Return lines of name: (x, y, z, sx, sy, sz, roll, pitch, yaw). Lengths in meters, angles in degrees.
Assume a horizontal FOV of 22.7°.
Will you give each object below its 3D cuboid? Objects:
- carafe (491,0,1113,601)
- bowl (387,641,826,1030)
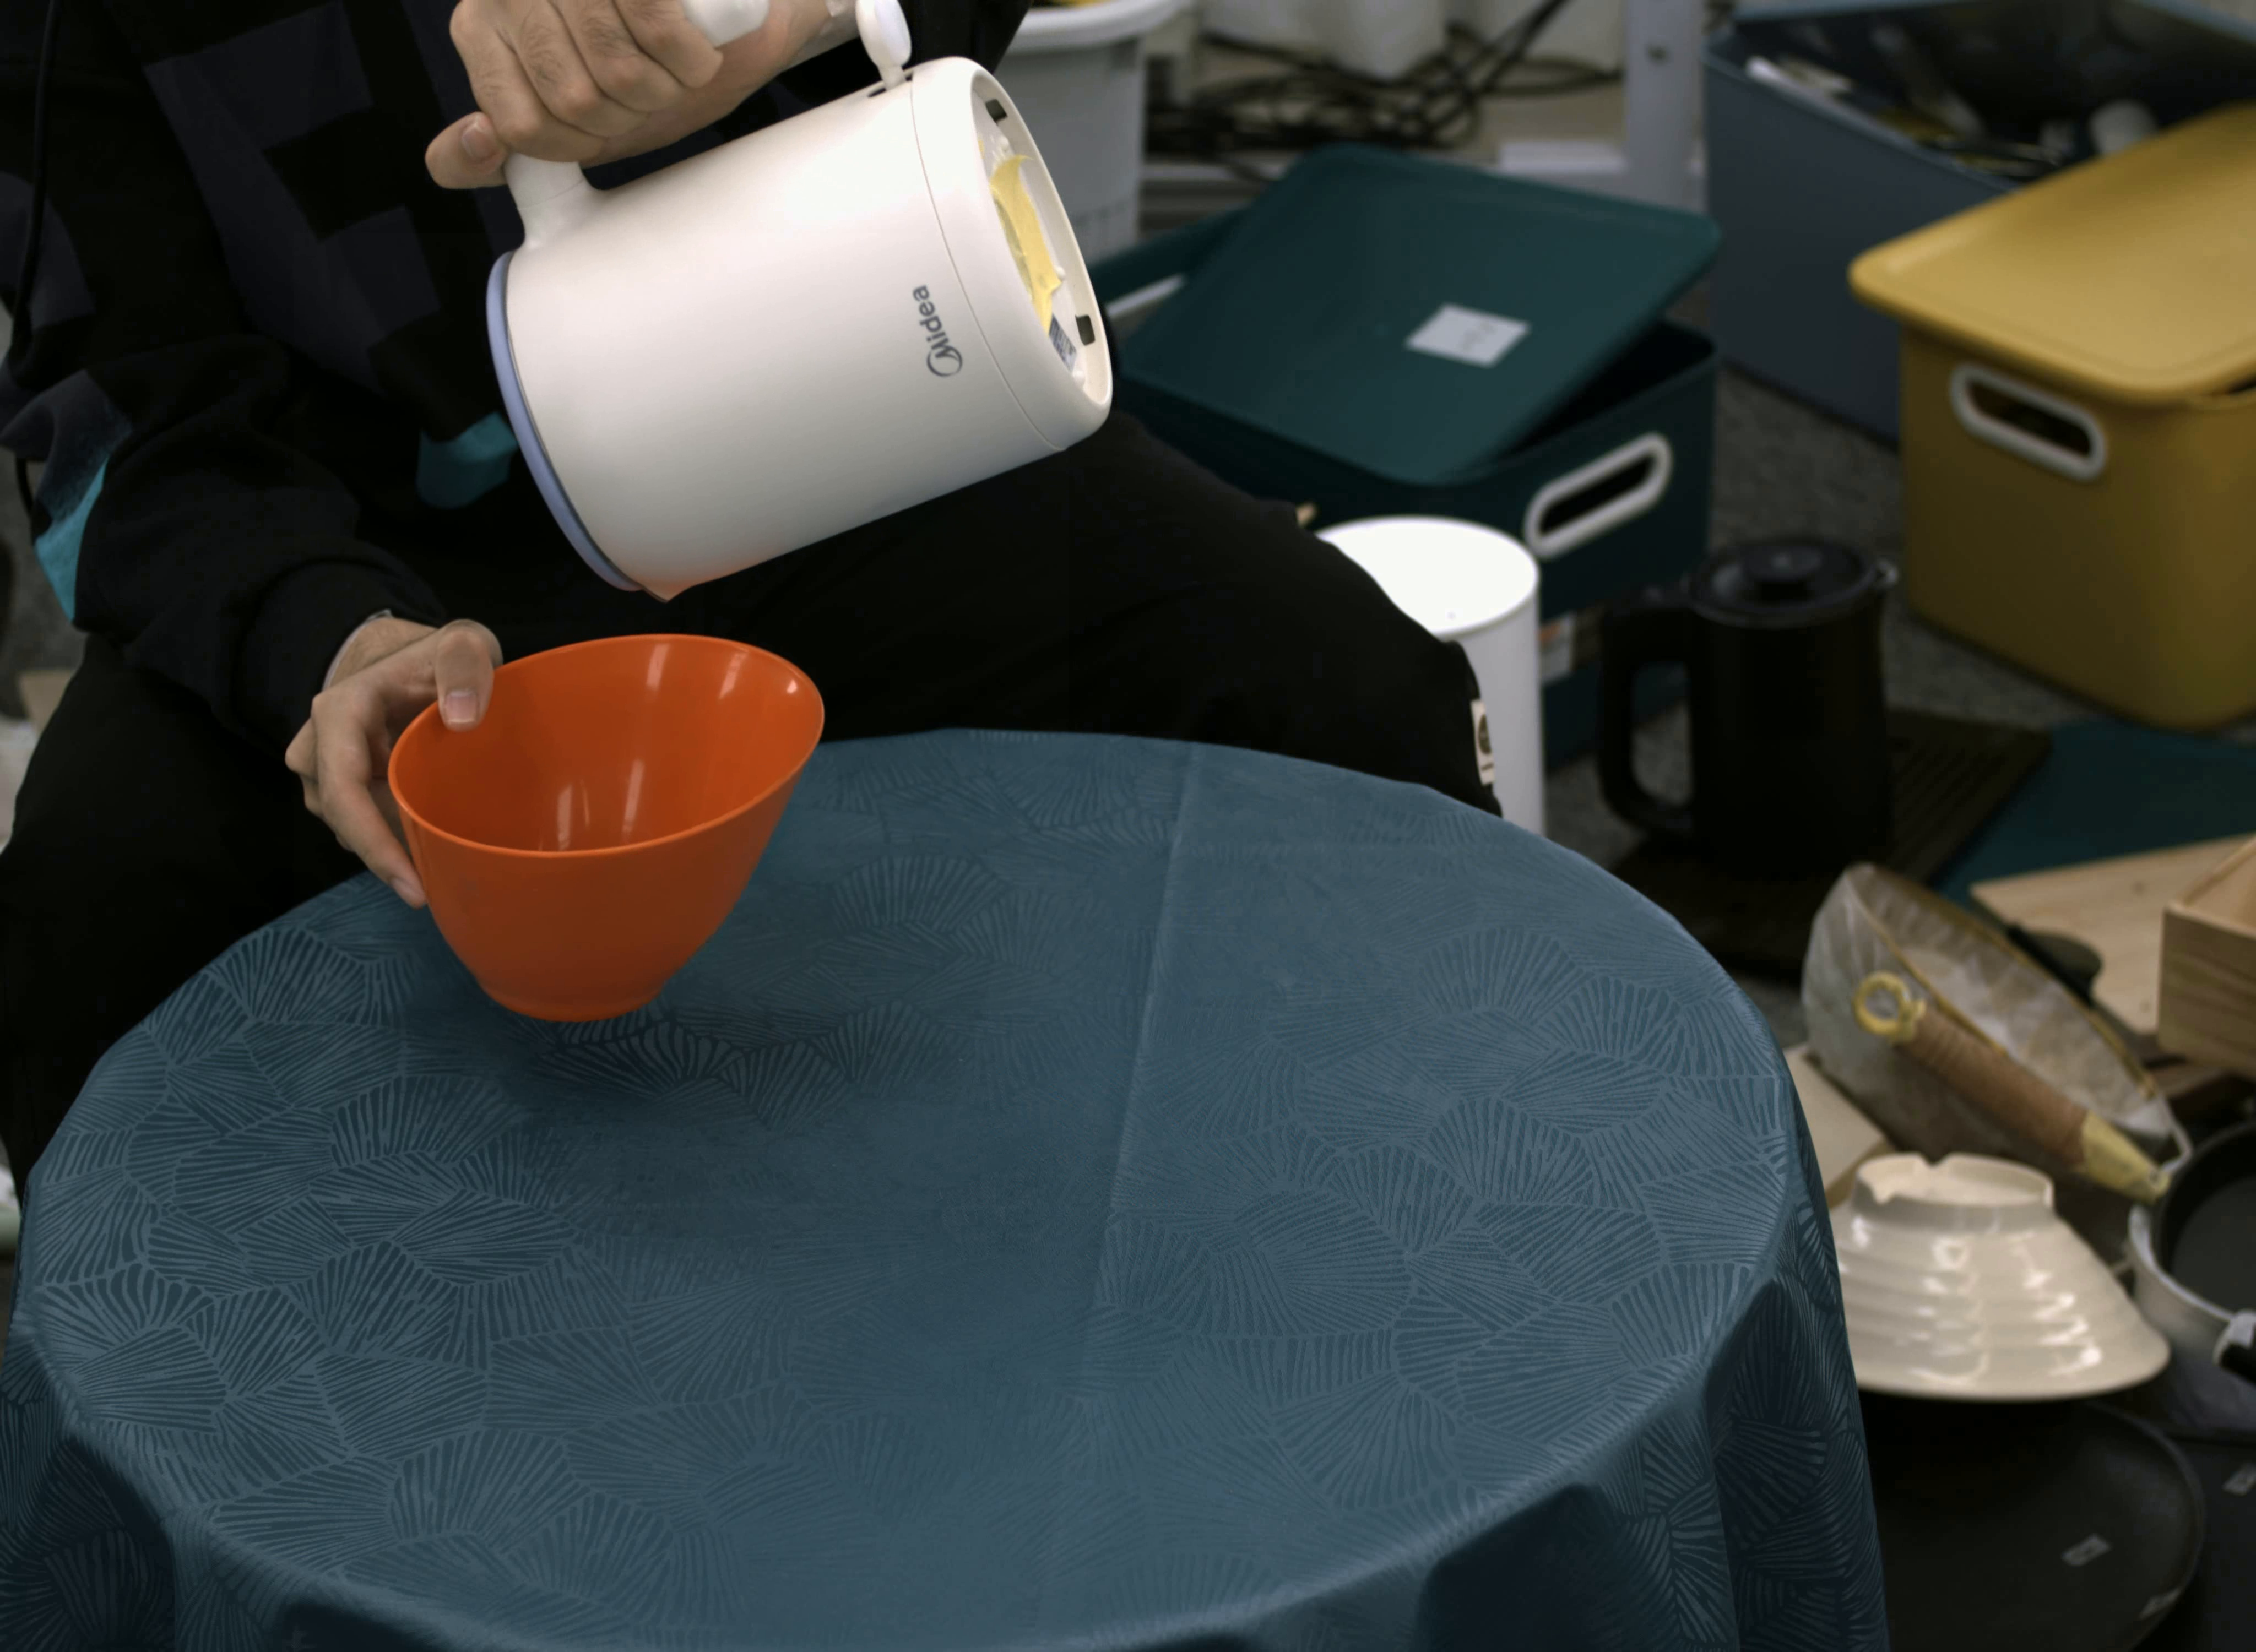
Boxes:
carafe: (-0.113, -0.183, 1.820, 0.181, 0.190, 0.134, -18, 17, 9)
bowl: (-0.178, 0.009, 1.916, 0.147, 0.103, 0.150, 4, 28, -2)
